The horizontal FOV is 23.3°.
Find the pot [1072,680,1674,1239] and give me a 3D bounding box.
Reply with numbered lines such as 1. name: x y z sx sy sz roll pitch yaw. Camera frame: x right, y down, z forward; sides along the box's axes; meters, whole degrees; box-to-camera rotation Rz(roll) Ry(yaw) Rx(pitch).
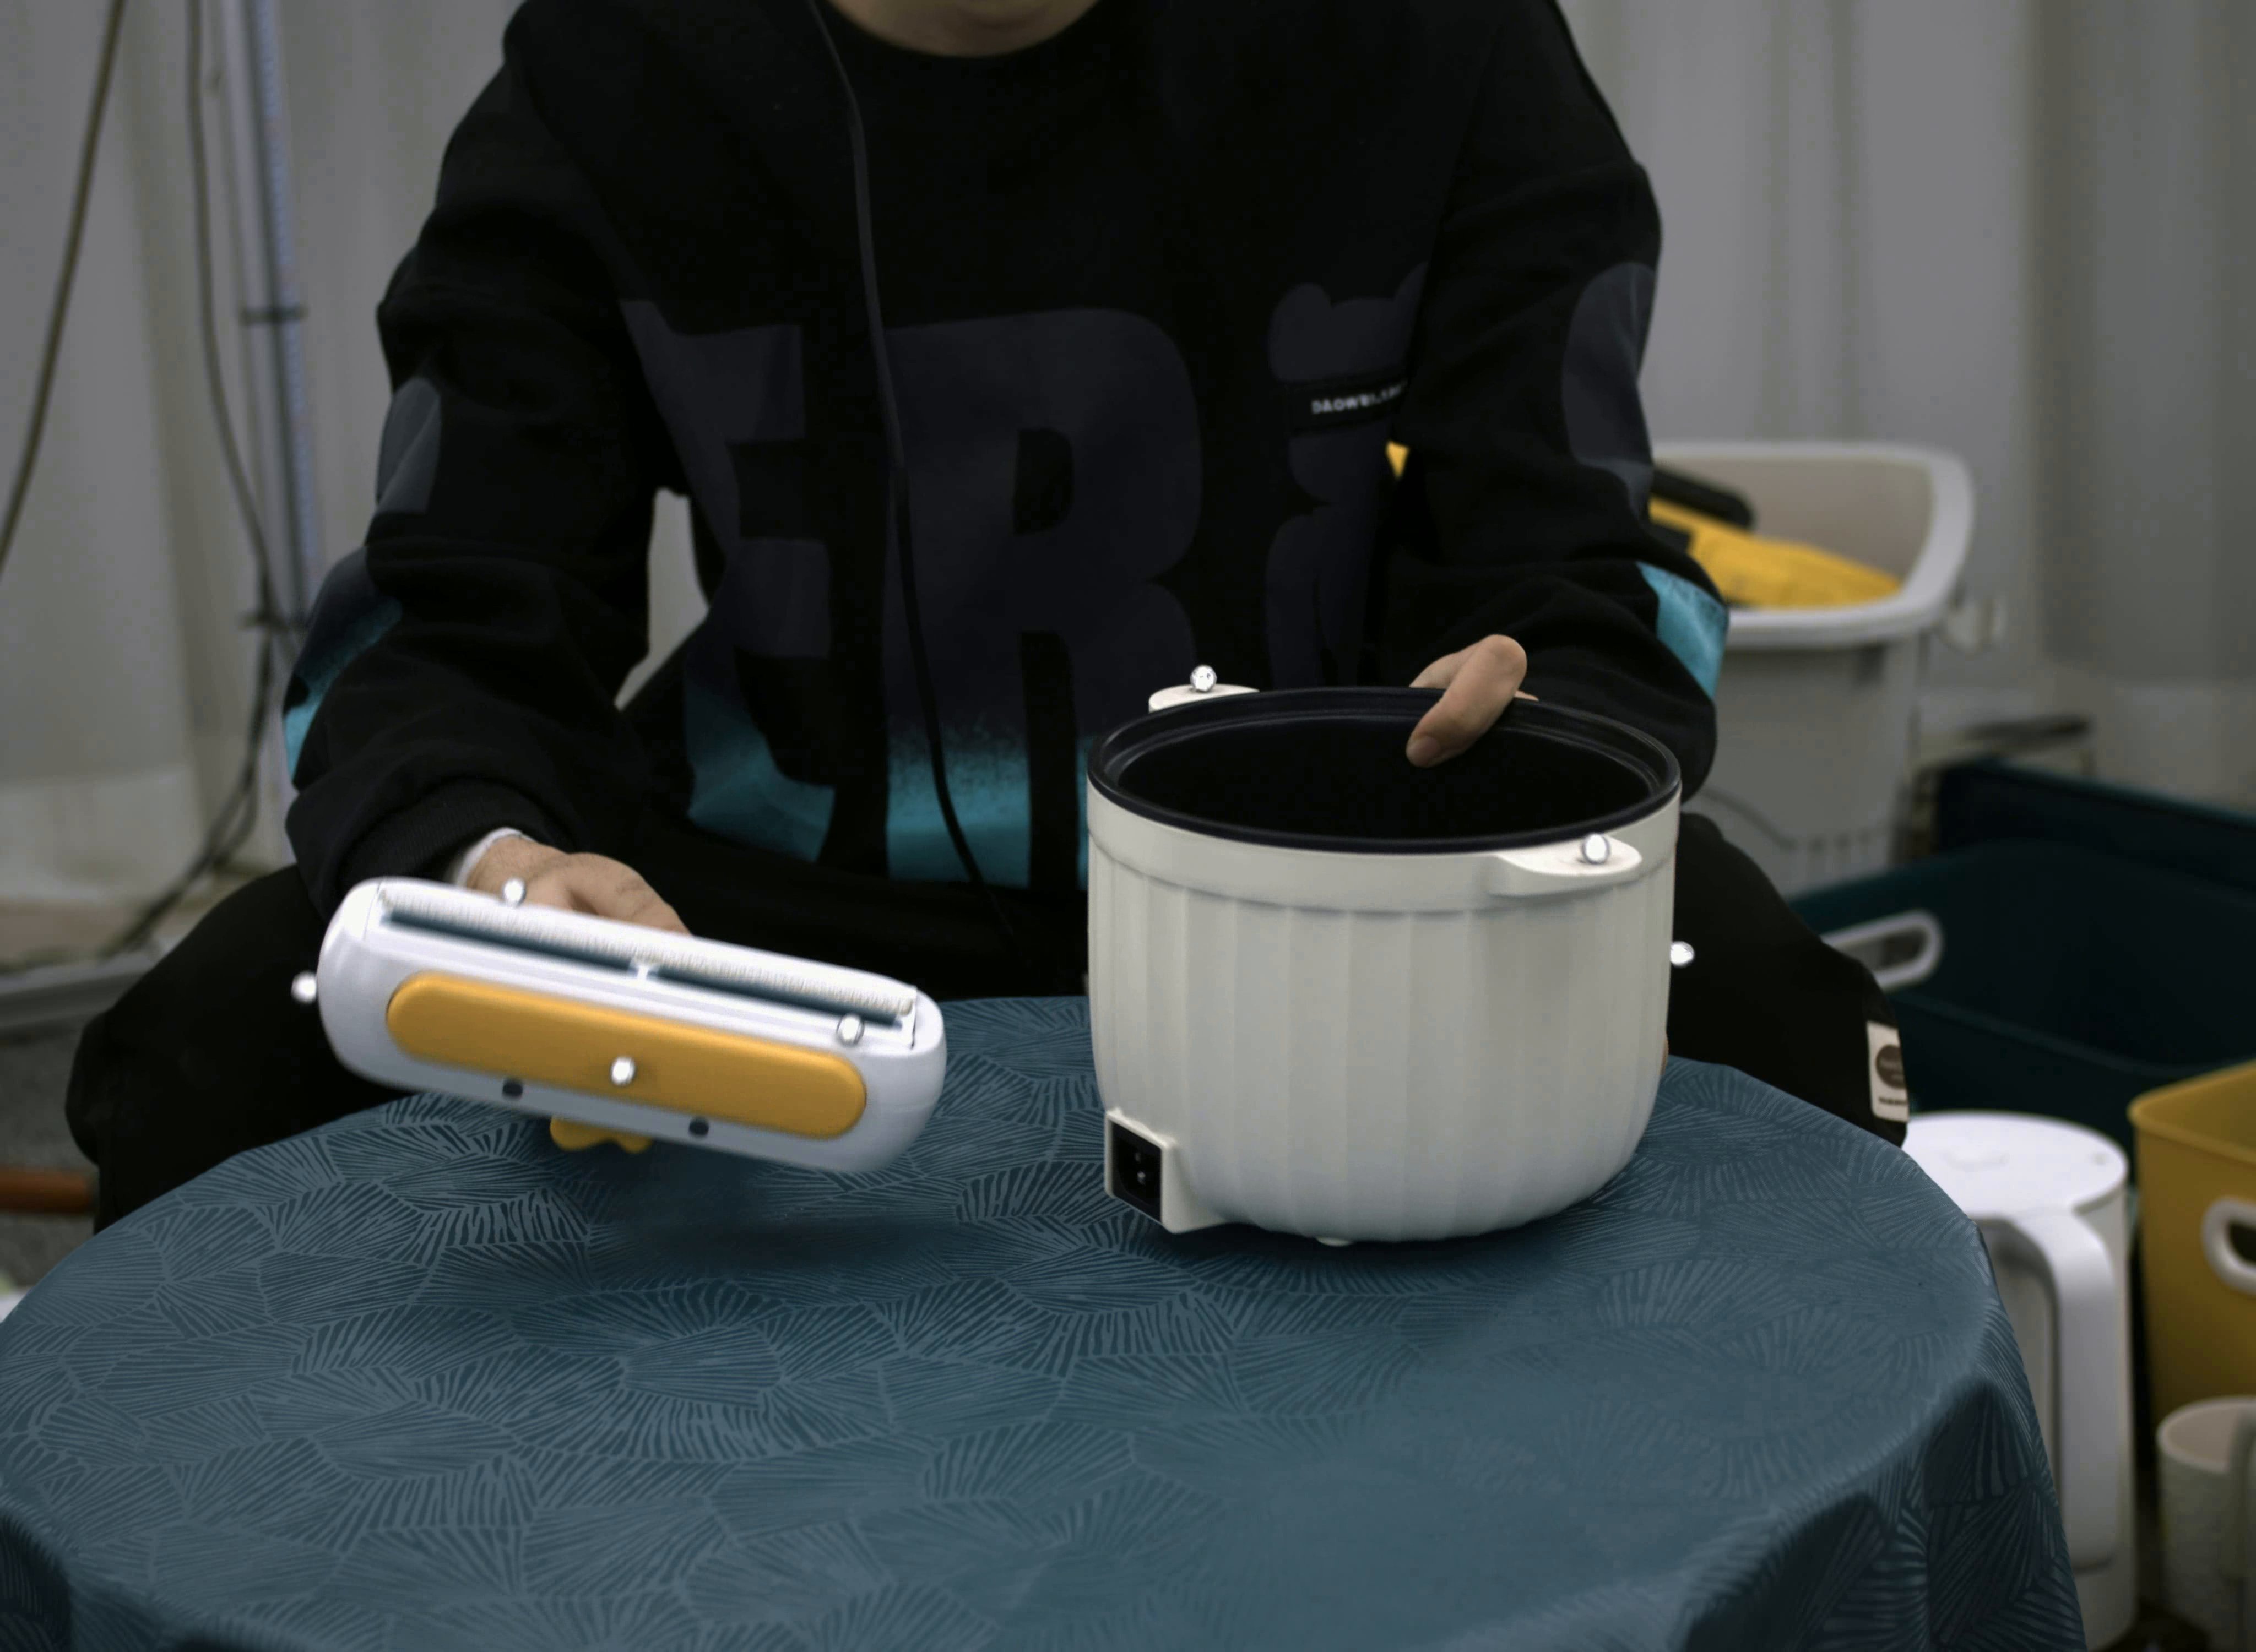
1. pot: 0.080 0.041 1.686 0.190 0.142 0.242 -12 20 -29

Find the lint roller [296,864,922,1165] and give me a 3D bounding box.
1. lint roller: -0.159 0.052 1.728 0.192 0.074 0.193 9 11 -1
